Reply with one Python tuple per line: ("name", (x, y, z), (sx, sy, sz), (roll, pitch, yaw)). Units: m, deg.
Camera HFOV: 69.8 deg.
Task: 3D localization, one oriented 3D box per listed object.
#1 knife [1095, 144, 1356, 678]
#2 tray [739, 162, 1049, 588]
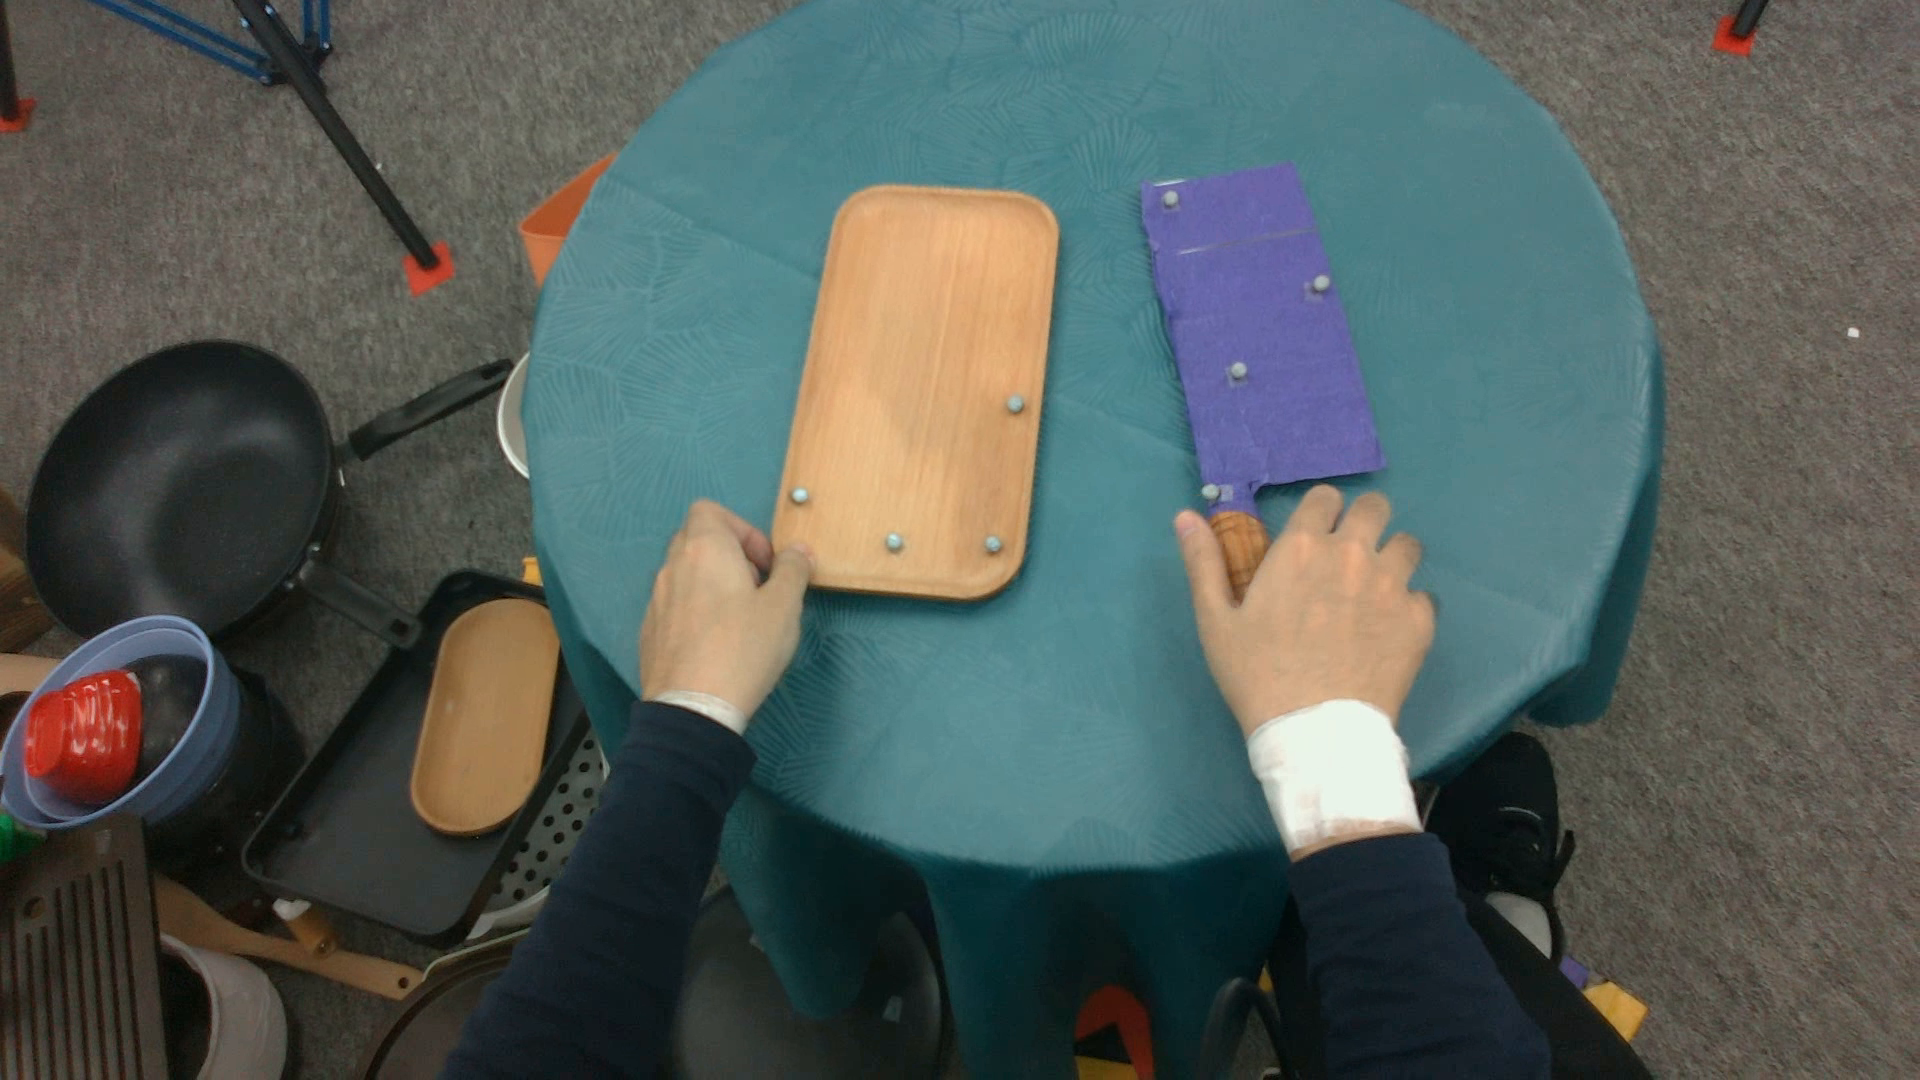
("knife", (0.147, -0.084, 0.703), (0.104, 0.032, 0.316), (-9, 63, 1))
("tray", (-0.030, -0.093, 0.724), (0.130, 0.023, 0.251), (10, 64, 2))
